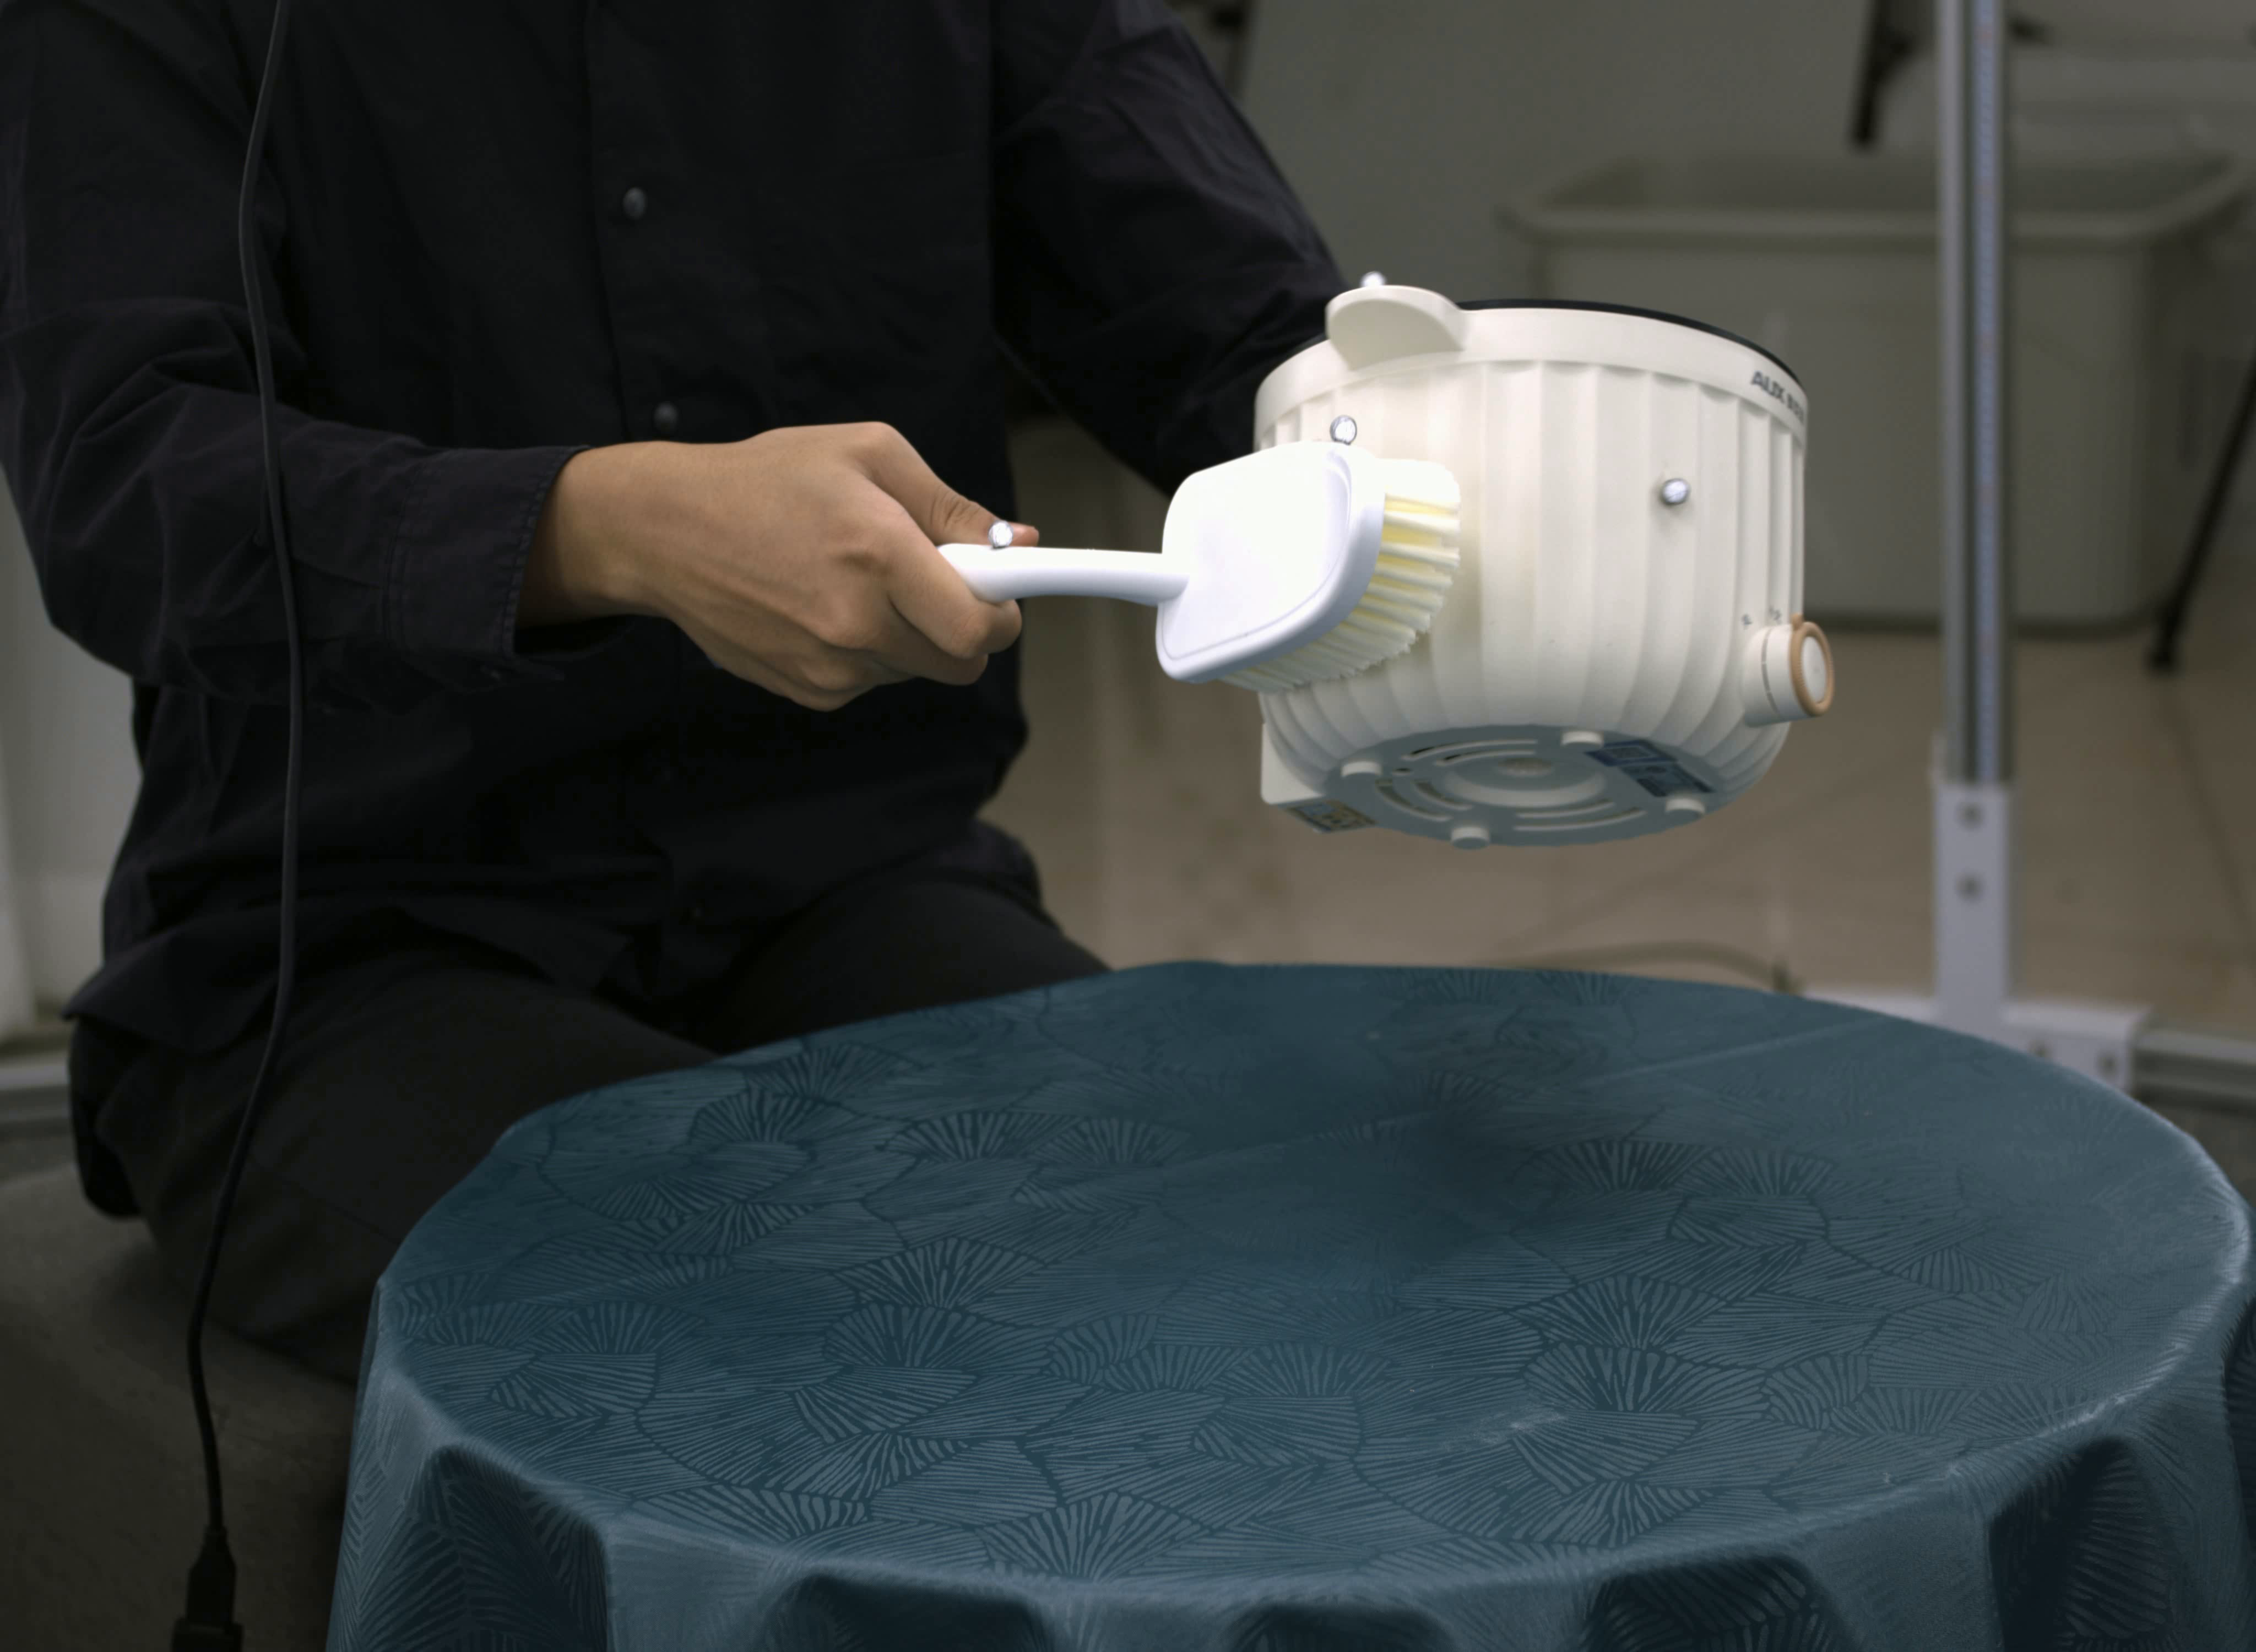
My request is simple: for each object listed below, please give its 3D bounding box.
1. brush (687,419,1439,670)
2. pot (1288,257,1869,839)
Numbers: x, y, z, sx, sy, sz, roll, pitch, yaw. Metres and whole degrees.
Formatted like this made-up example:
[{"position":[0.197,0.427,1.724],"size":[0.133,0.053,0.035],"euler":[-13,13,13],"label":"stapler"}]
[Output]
[{"position":[-0.014,-0.082,1.733],"size":[0.328,0.084,0.083],"euler":[-9,38,47],"label":"brush"},{"position":[0.146,-0.080,1.749],"size":[0.191,0.144,0.236],"euler":[-11,-21,27],"label":"pot"}]
